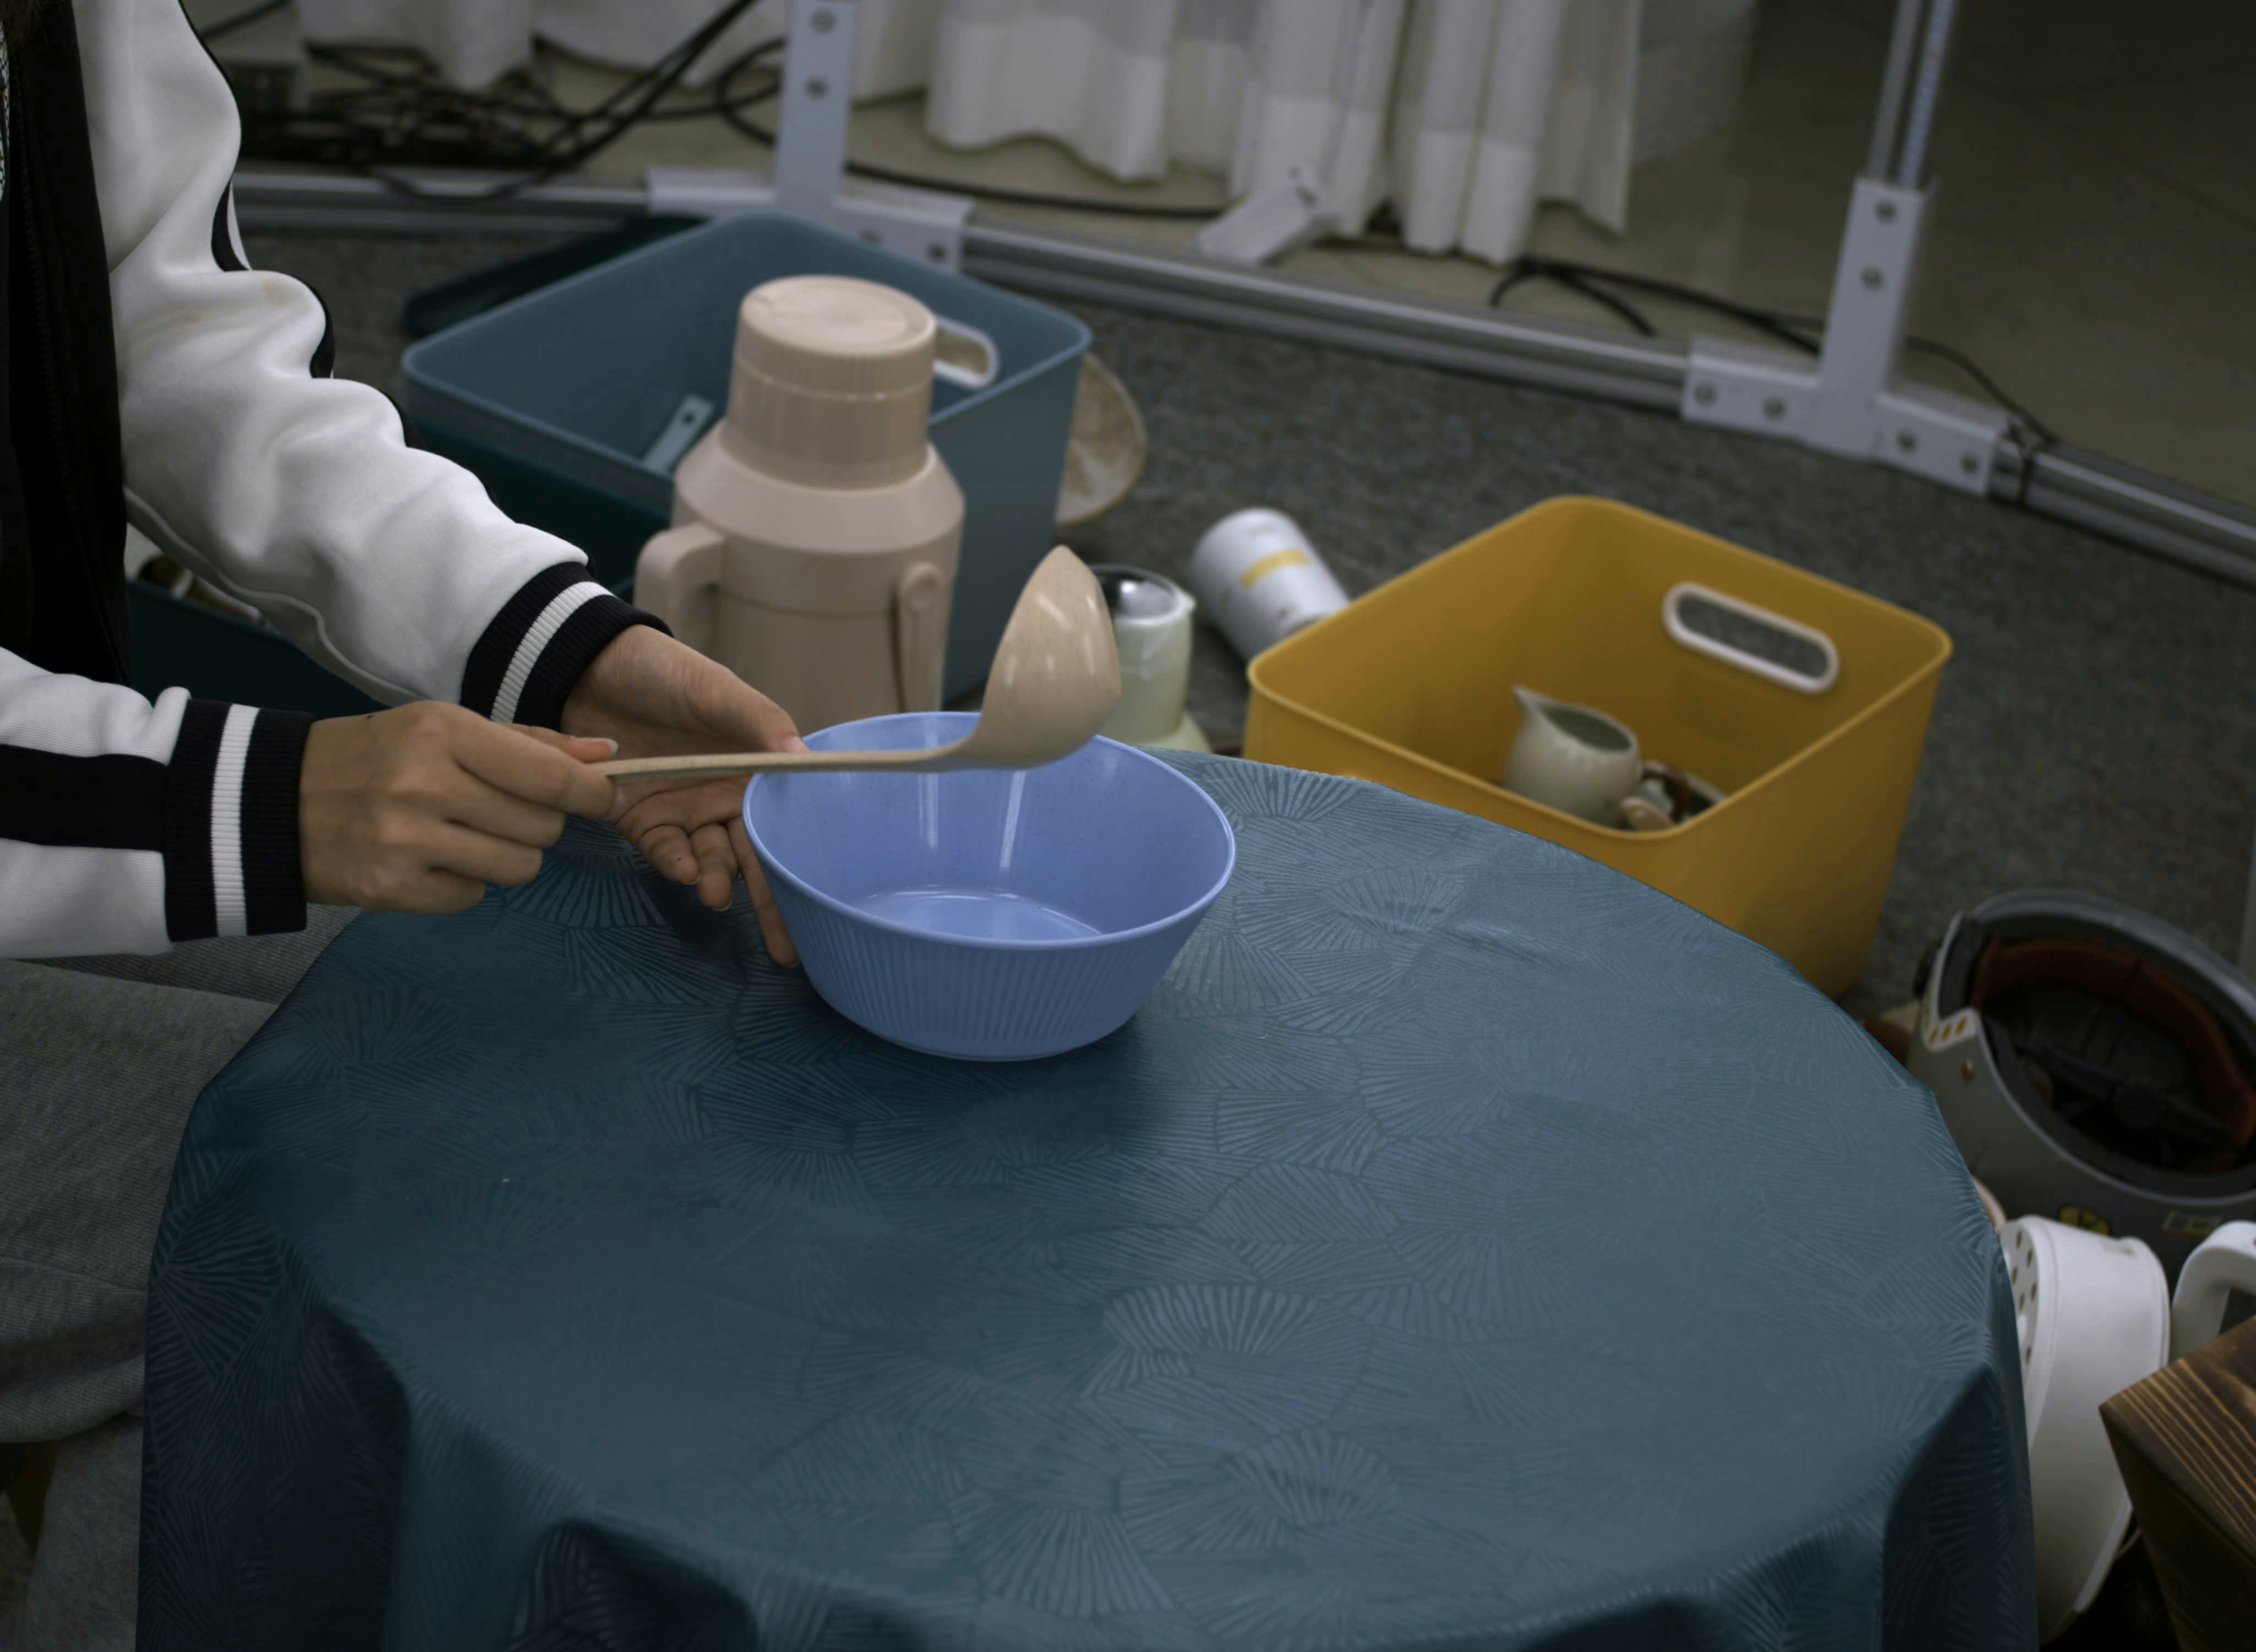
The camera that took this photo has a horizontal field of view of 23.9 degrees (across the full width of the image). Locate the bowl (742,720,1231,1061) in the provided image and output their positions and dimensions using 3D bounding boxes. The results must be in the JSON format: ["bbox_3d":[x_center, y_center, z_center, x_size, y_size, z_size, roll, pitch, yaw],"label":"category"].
[{"bbox_3d":[-0.053,0.028,1.900,0.175,0.070,0.177,6,26,-3],"label":"bowl"}]

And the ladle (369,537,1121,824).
[{"bbox_3d":[-0.130,-0.048,1.771,0.254,0.073,0.072,-6,-17,6],"label":"ladle"}]
